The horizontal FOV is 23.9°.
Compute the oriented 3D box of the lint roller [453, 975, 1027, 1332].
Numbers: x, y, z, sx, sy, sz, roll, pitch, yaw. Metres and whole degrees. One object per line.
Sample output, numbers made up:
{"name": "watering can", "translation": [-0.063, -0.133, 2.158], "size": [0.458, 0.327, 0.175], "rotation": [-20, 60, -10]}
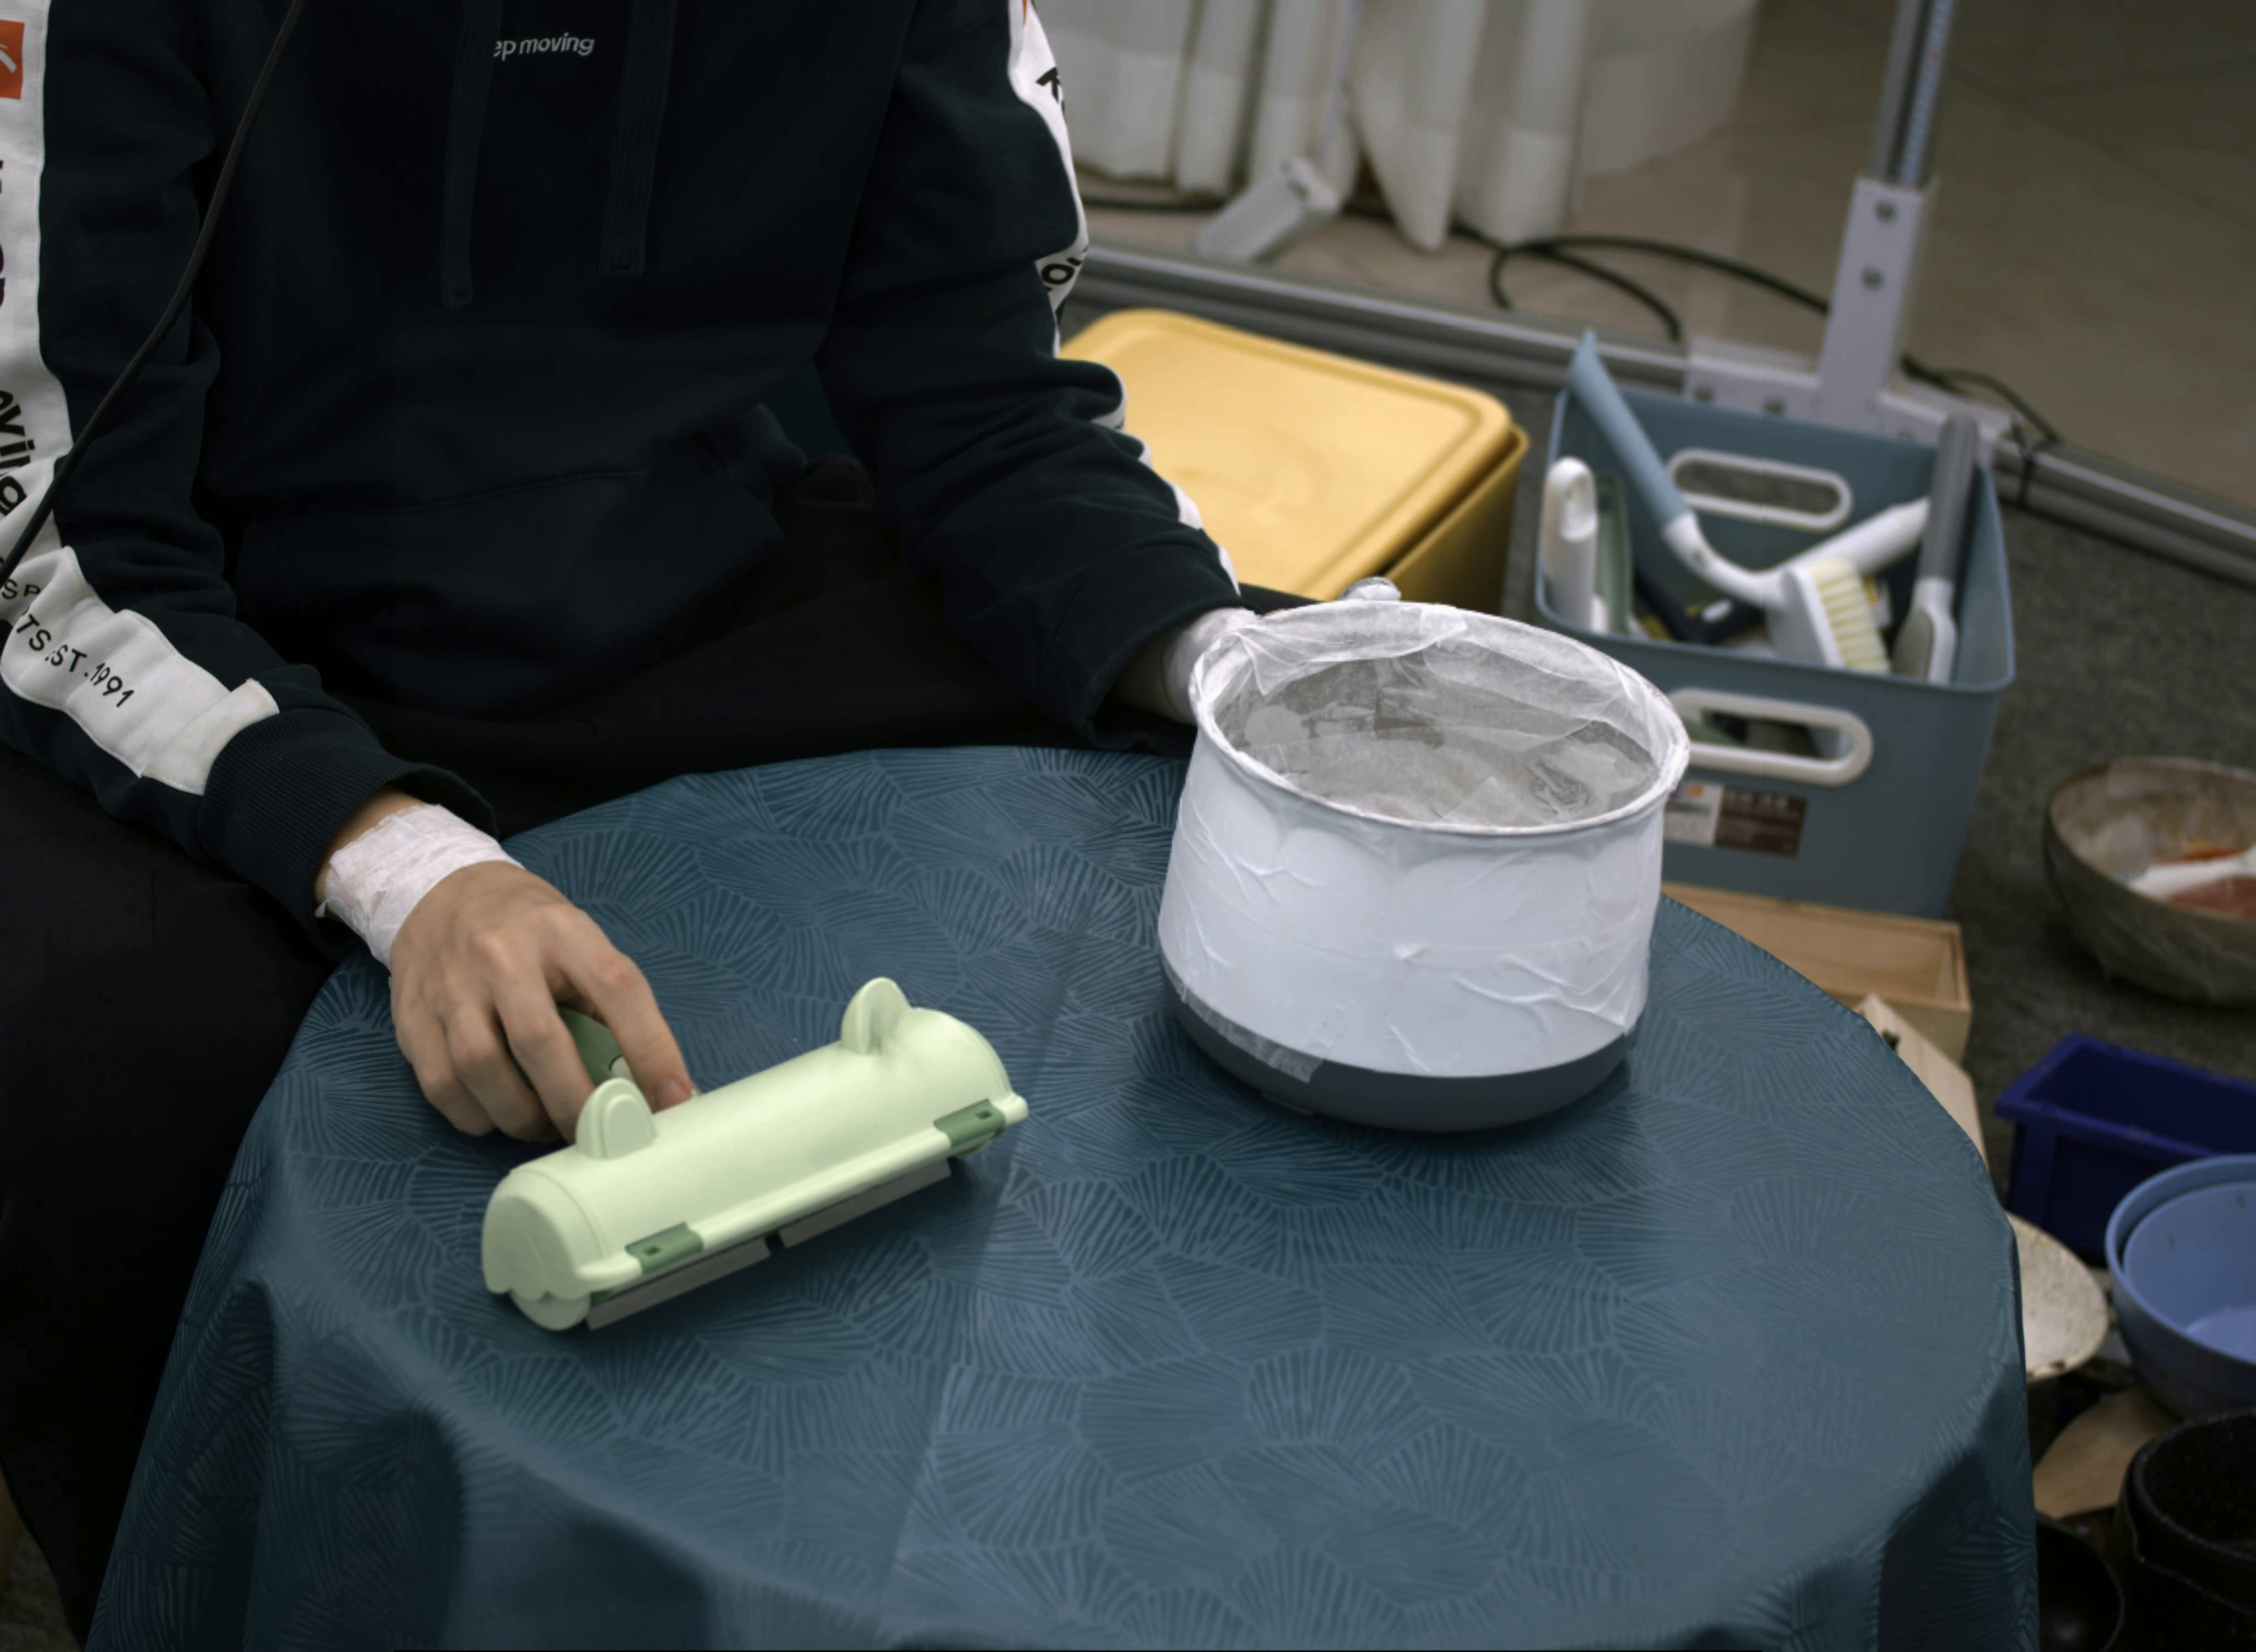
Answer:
{"name": "lint roller", "translation": [-0.161, 0.080, 1.767], "size": [0.197, 0.082, 0.185], "rotation": [-20, 42, -41]}

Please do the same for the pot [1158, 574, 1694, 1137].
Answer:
{"name": "pot", "translation": [0.097, 0.003, 1.904], "size": [0.178, 0.136, 0.235], "rotation": [1, 28, -13]}
